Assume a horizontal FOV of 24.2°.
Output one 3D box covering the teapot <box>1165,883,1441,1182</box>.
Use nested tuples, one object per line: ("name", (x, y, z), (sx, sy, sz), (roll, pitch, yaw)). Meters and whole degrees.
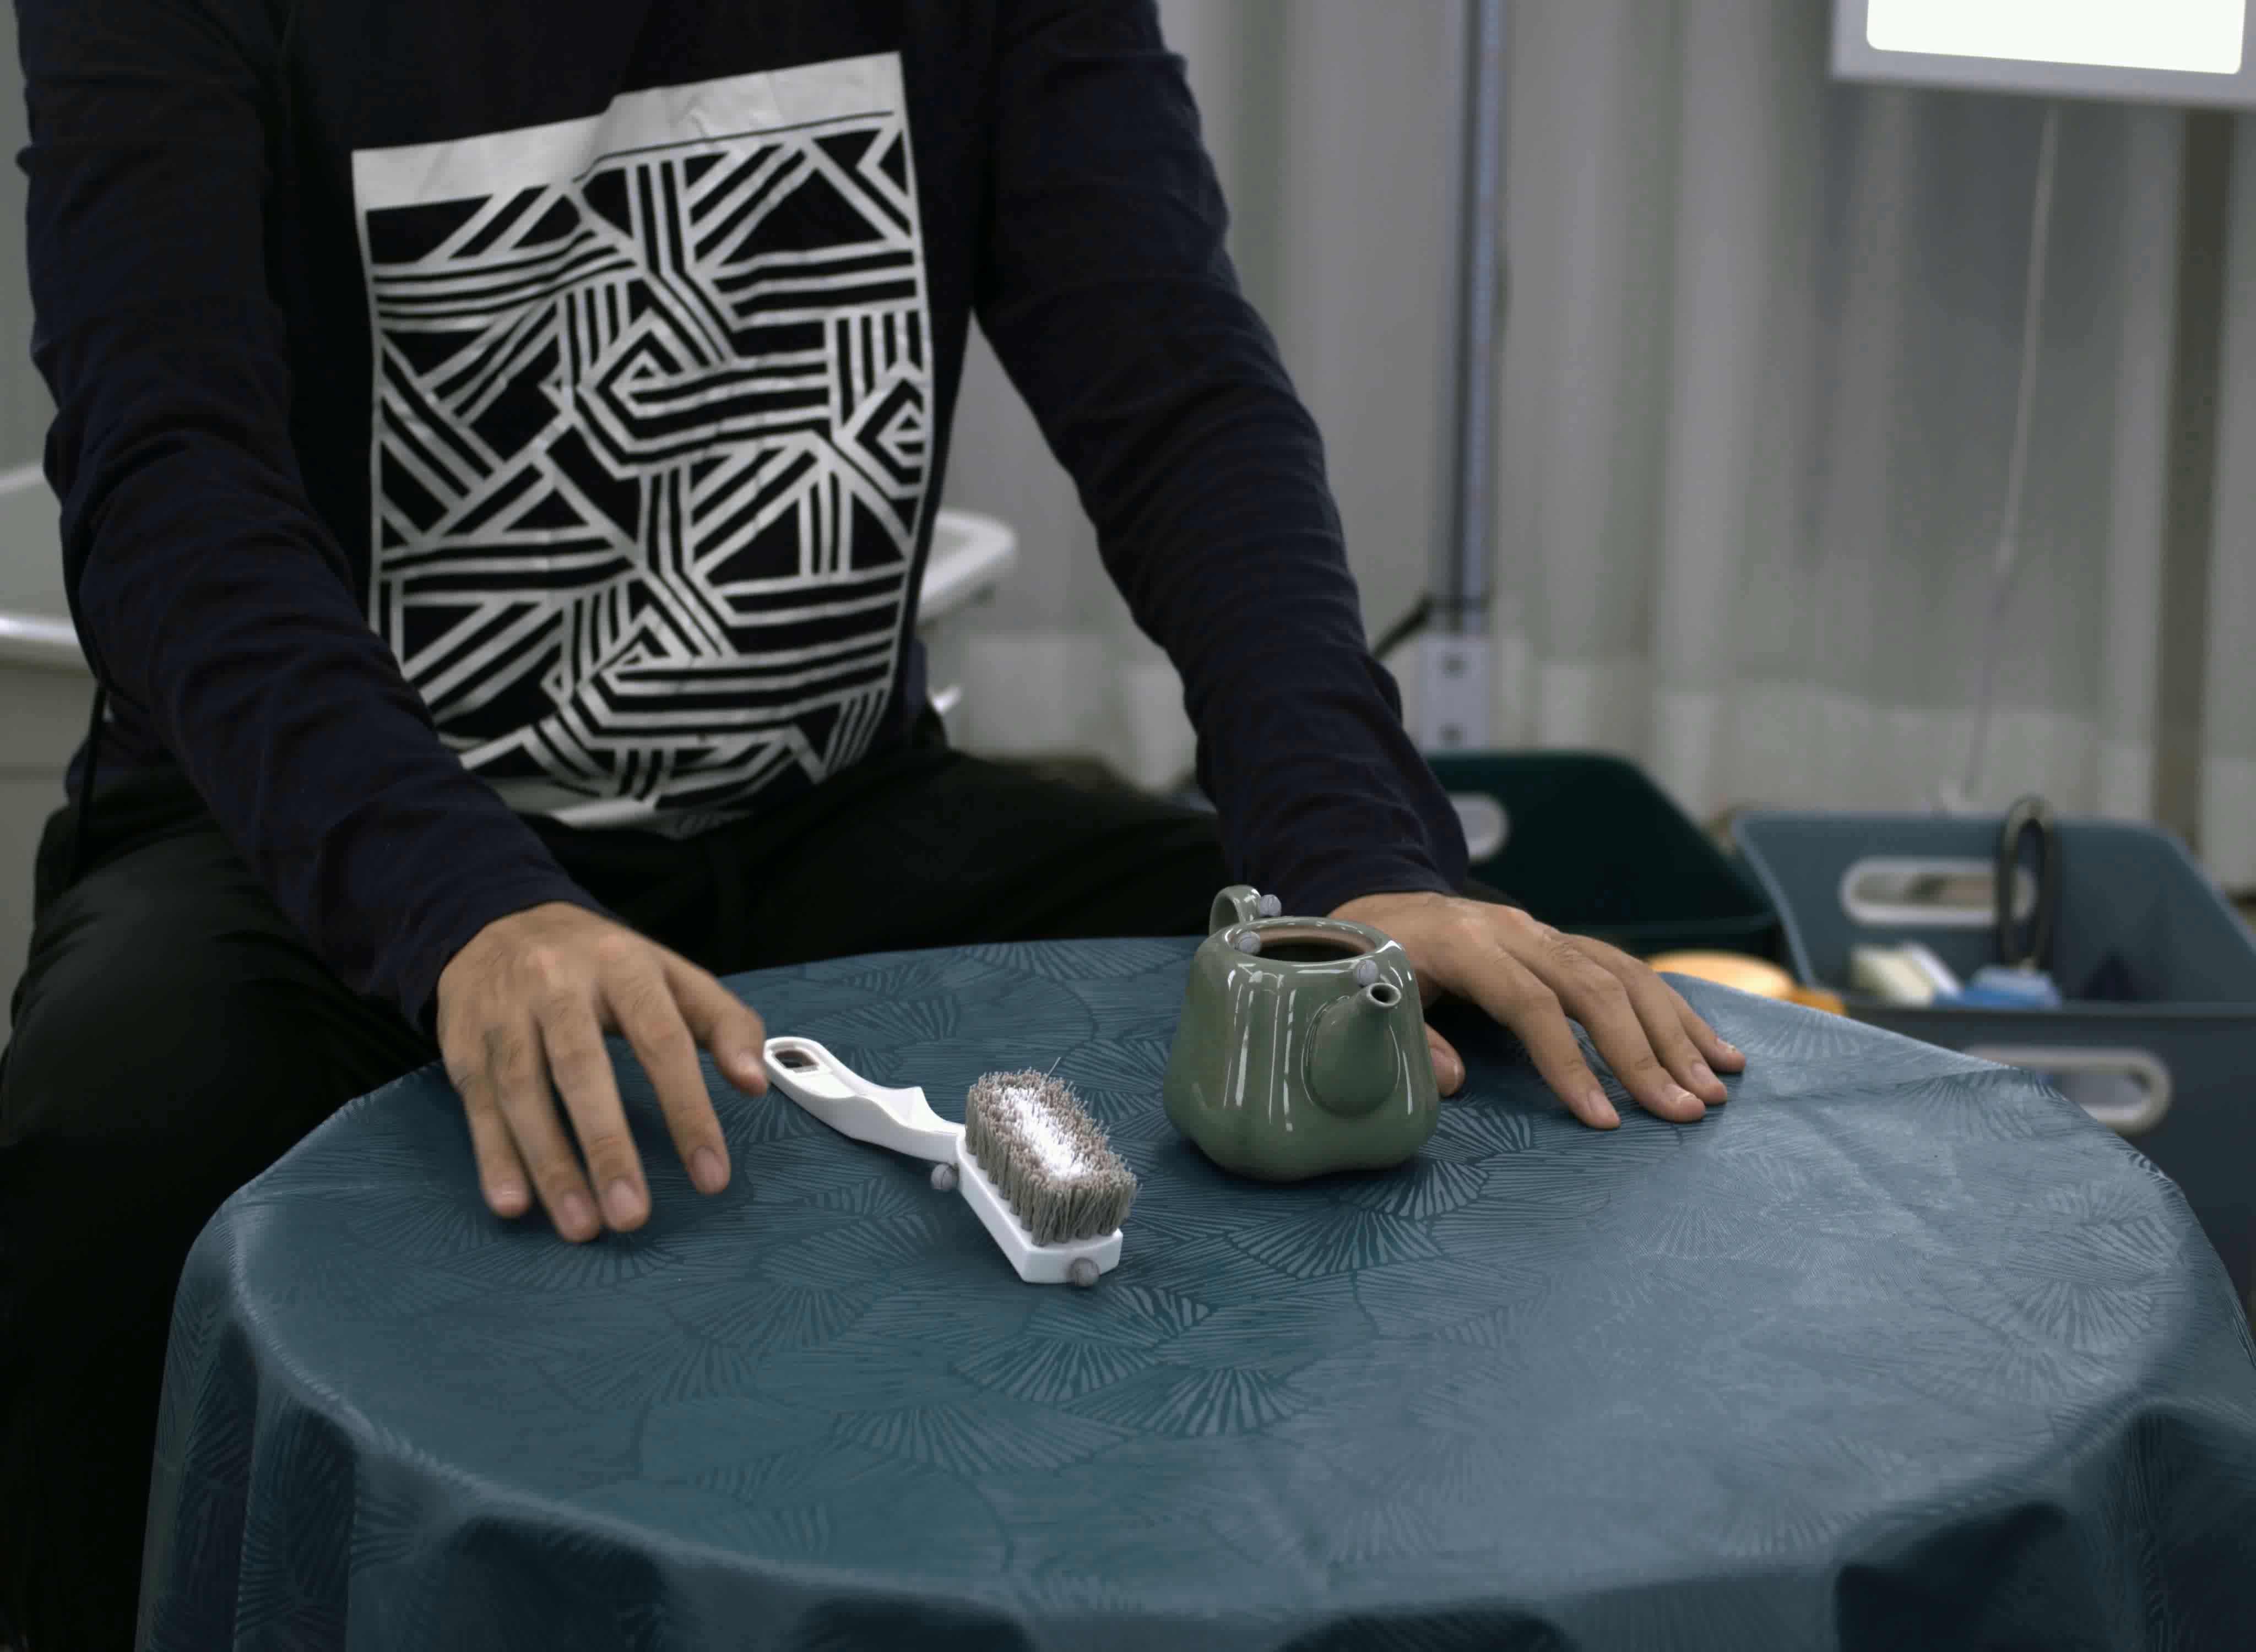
("teapot", (0.055, 0.067, 1.654), (0.080, 0.076, 0.131), (-6, 16, -22))

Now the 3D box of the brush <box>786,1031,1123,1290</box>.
("brush", (-0.060, 0.084, 1.636), (0.034, 0.051, 0.241), (-11, 19, -20))
